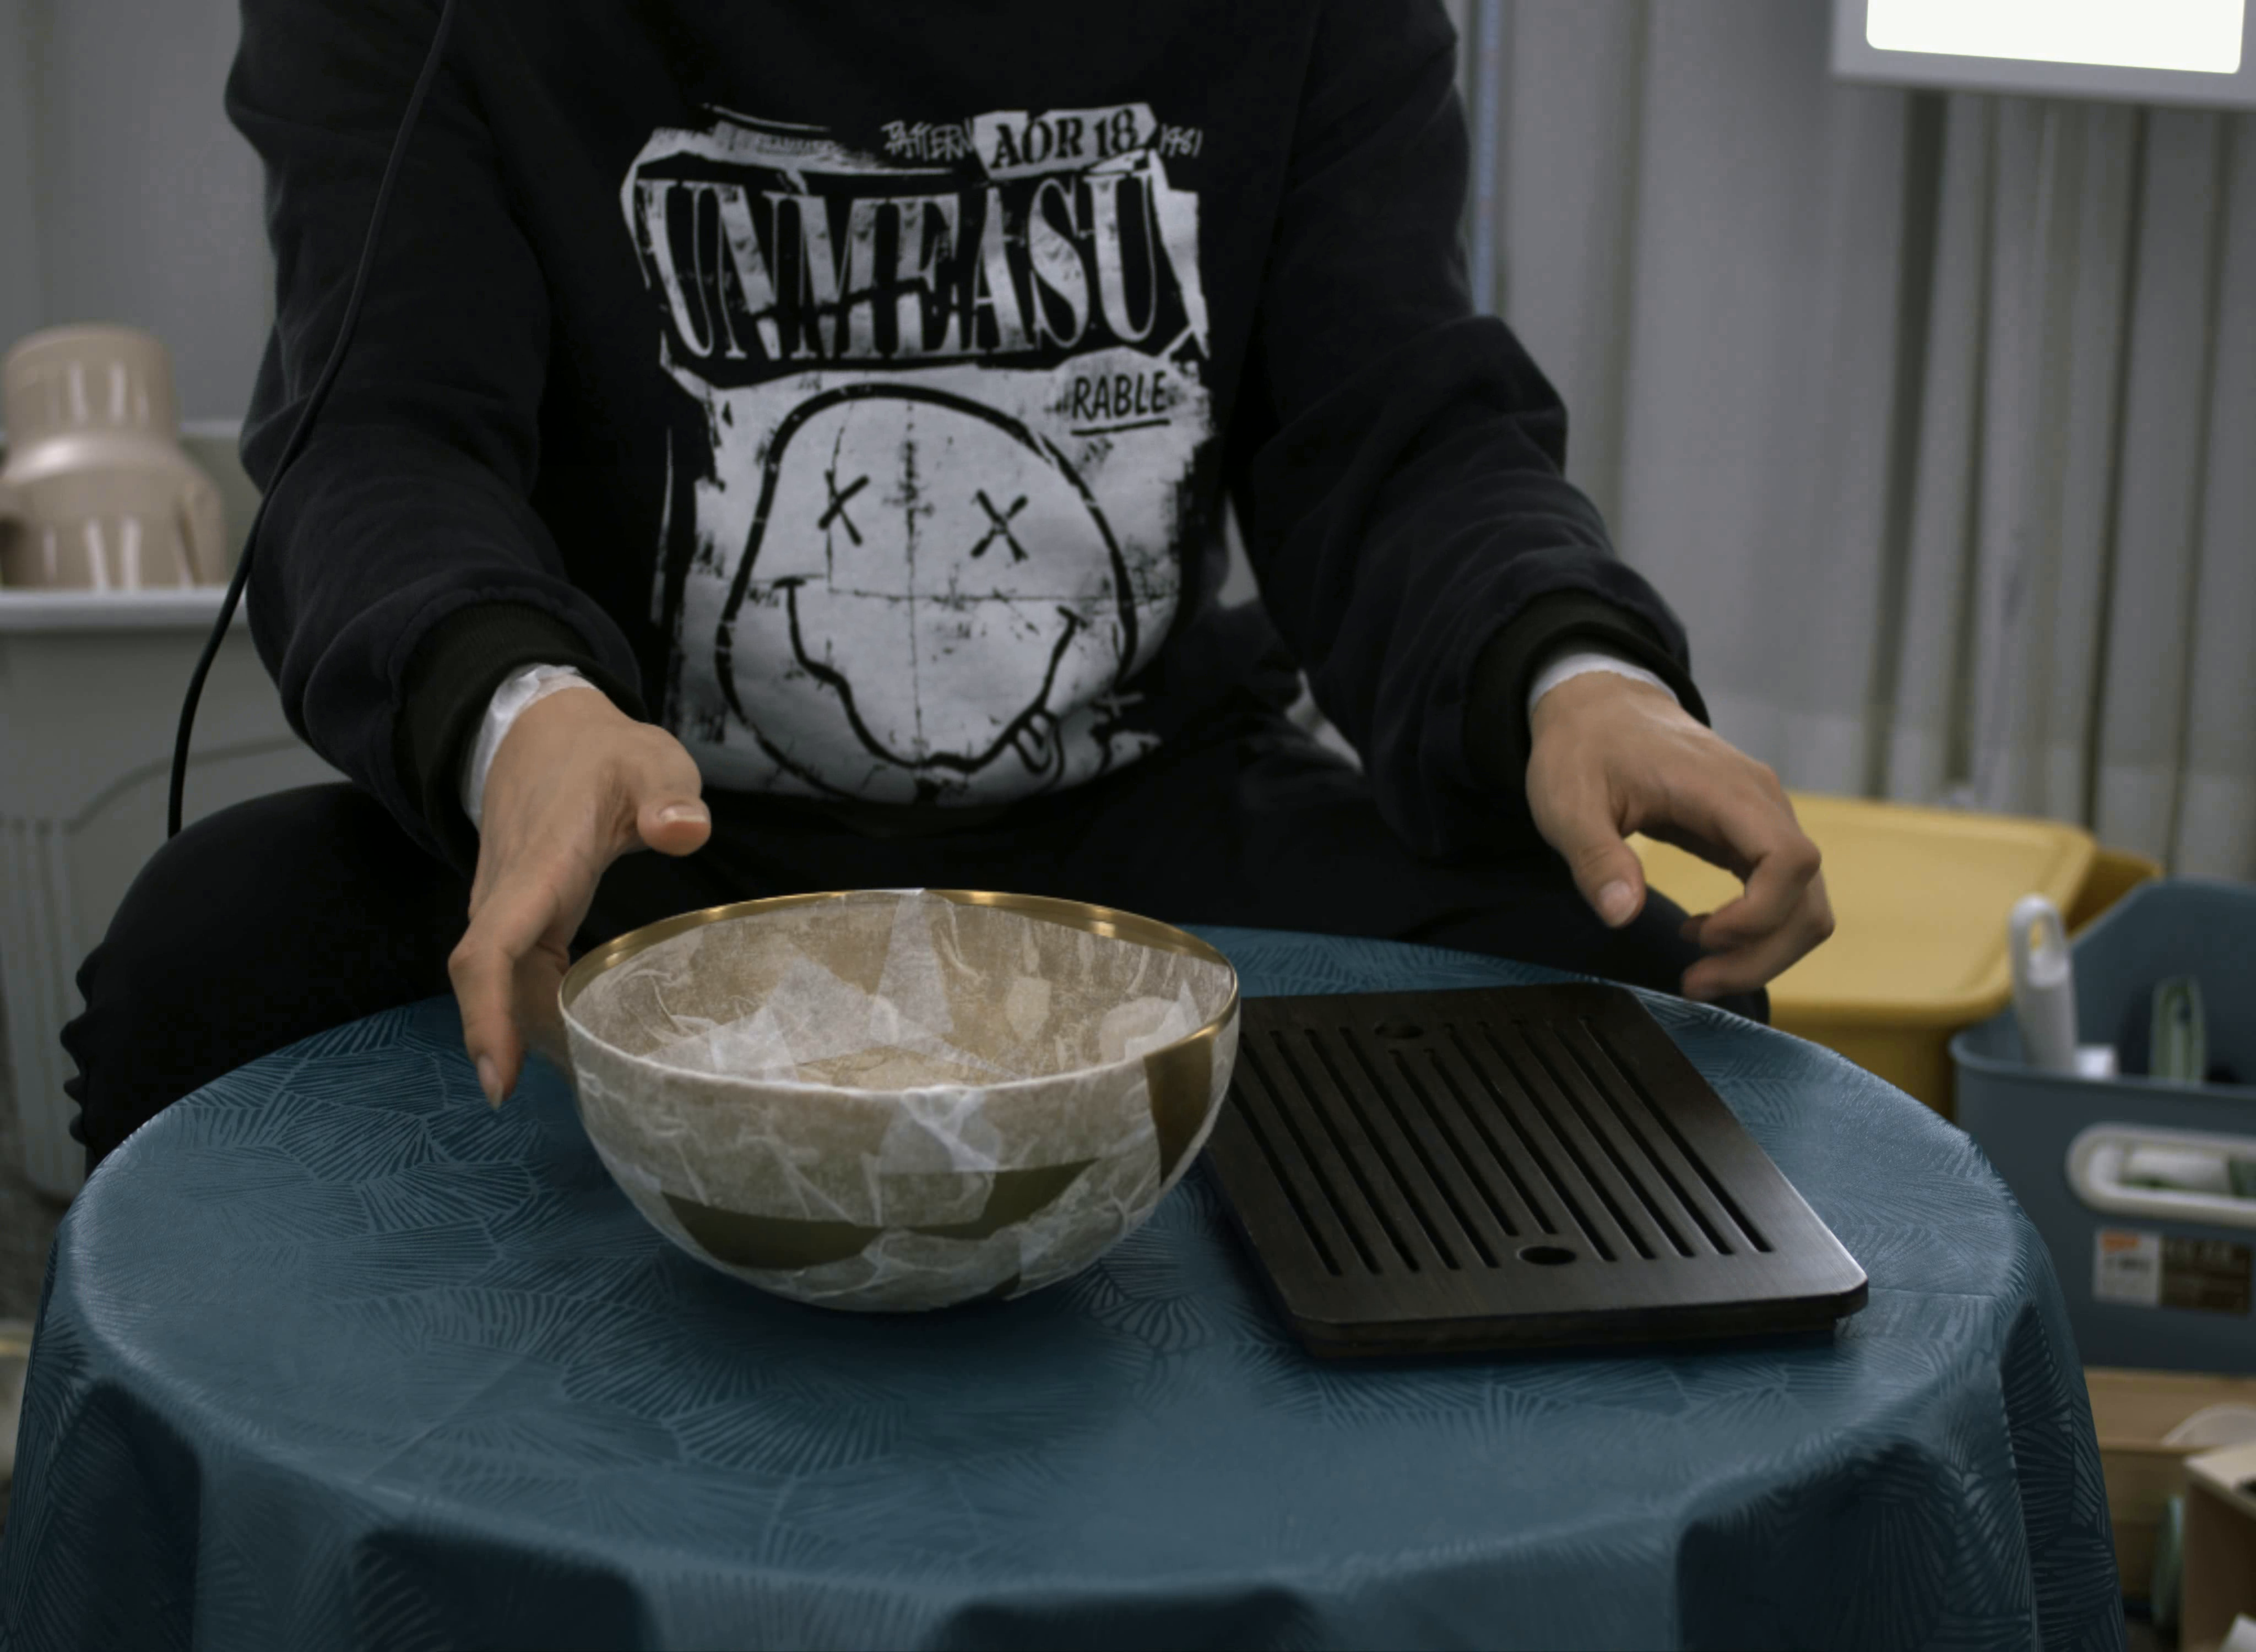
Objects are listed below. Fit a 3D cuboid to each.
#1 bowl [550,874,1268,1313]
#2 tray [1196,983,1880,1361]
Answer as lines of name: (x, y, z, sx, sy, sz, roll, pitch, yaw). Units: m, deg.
bowl: (-0.063, 0.087, 1.544, 0.214, 0.095, 0.213, 0, 16, 1)
tray: (0.110, 0.104, 1.630, 0.170, 0.019, 0.303, -2, 16, -9)
